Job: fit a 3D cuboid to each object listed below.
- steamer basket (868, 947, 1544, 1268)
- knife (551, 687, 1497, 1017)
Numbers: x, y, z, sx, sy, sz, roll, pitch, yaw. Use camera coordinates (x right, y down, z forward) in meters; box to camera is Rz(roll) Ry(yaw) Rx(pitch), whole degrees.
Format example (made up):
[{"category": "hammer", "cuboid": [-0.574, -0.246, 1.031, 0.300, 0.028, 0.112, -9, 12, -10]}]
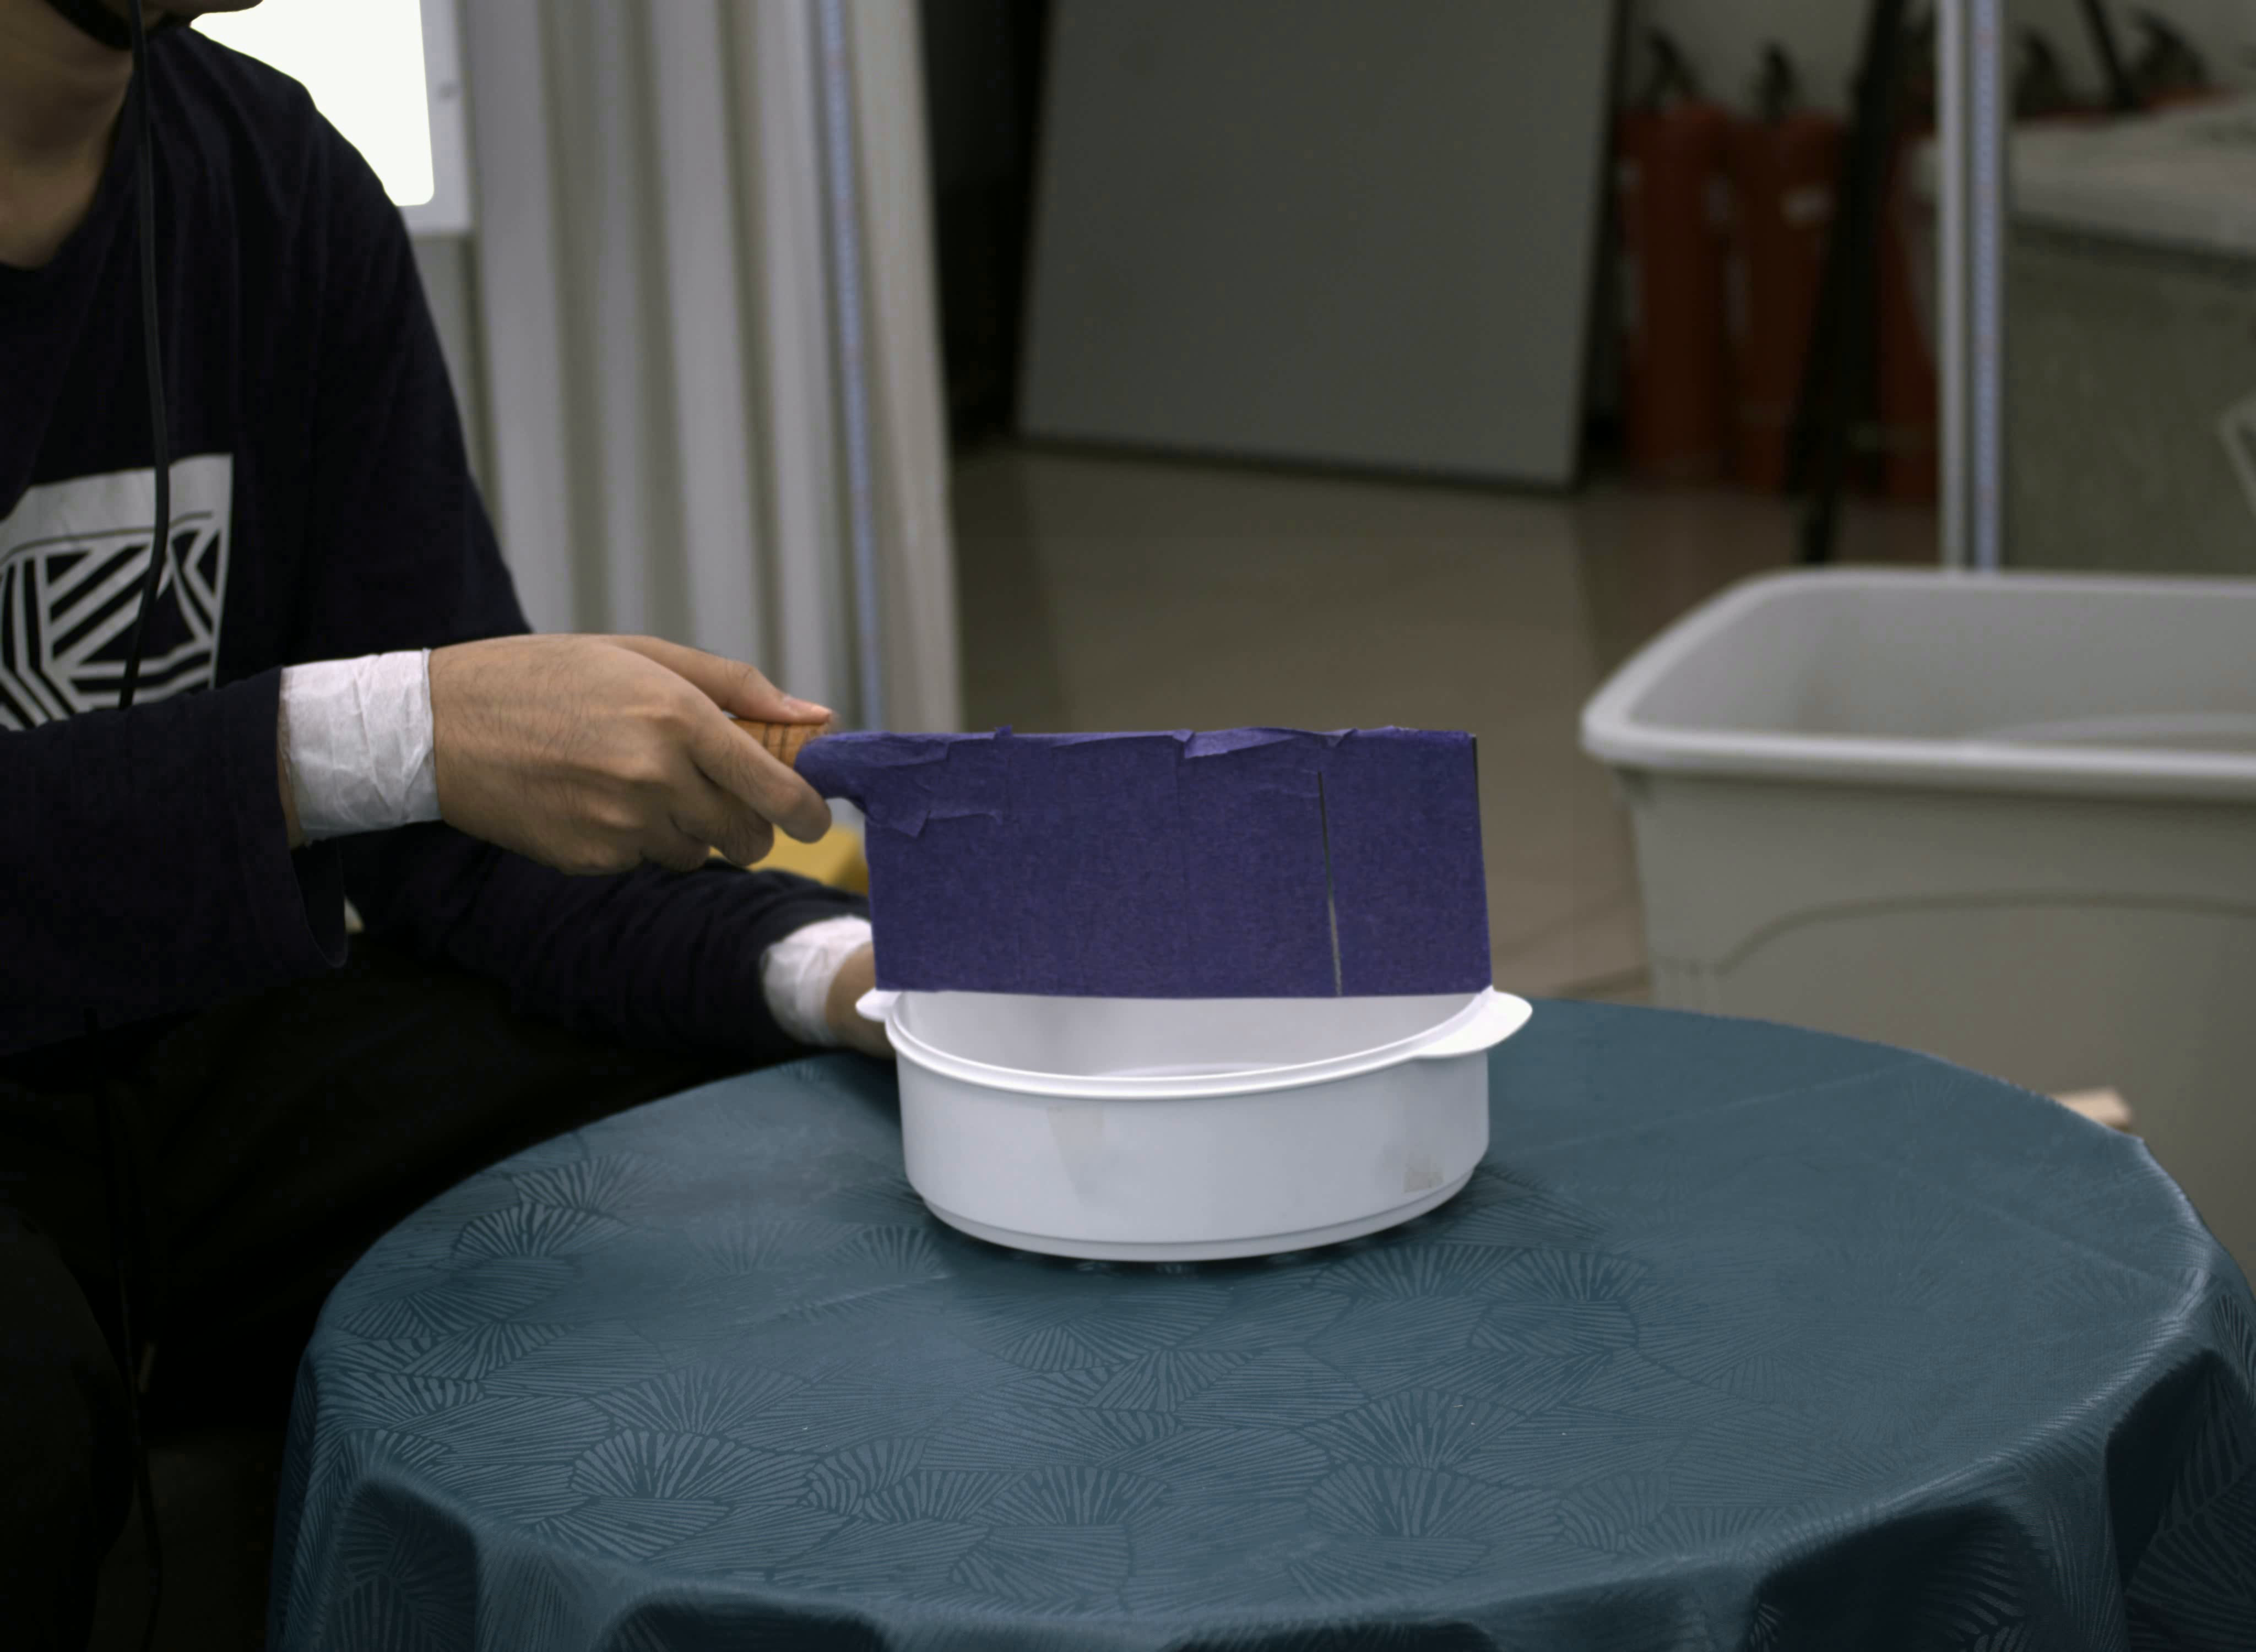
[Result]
[{"category": "steamer basket", "cuboid": [0.027, 0.089, 1.764, 0.231, 0.070, 0.199, -1, 12, 25]}, {"category": "knife", "cuboid": [-0.036, 0.011, 1.756, 0.314, 0.105, 0.032, -1, 13, 17]}]
